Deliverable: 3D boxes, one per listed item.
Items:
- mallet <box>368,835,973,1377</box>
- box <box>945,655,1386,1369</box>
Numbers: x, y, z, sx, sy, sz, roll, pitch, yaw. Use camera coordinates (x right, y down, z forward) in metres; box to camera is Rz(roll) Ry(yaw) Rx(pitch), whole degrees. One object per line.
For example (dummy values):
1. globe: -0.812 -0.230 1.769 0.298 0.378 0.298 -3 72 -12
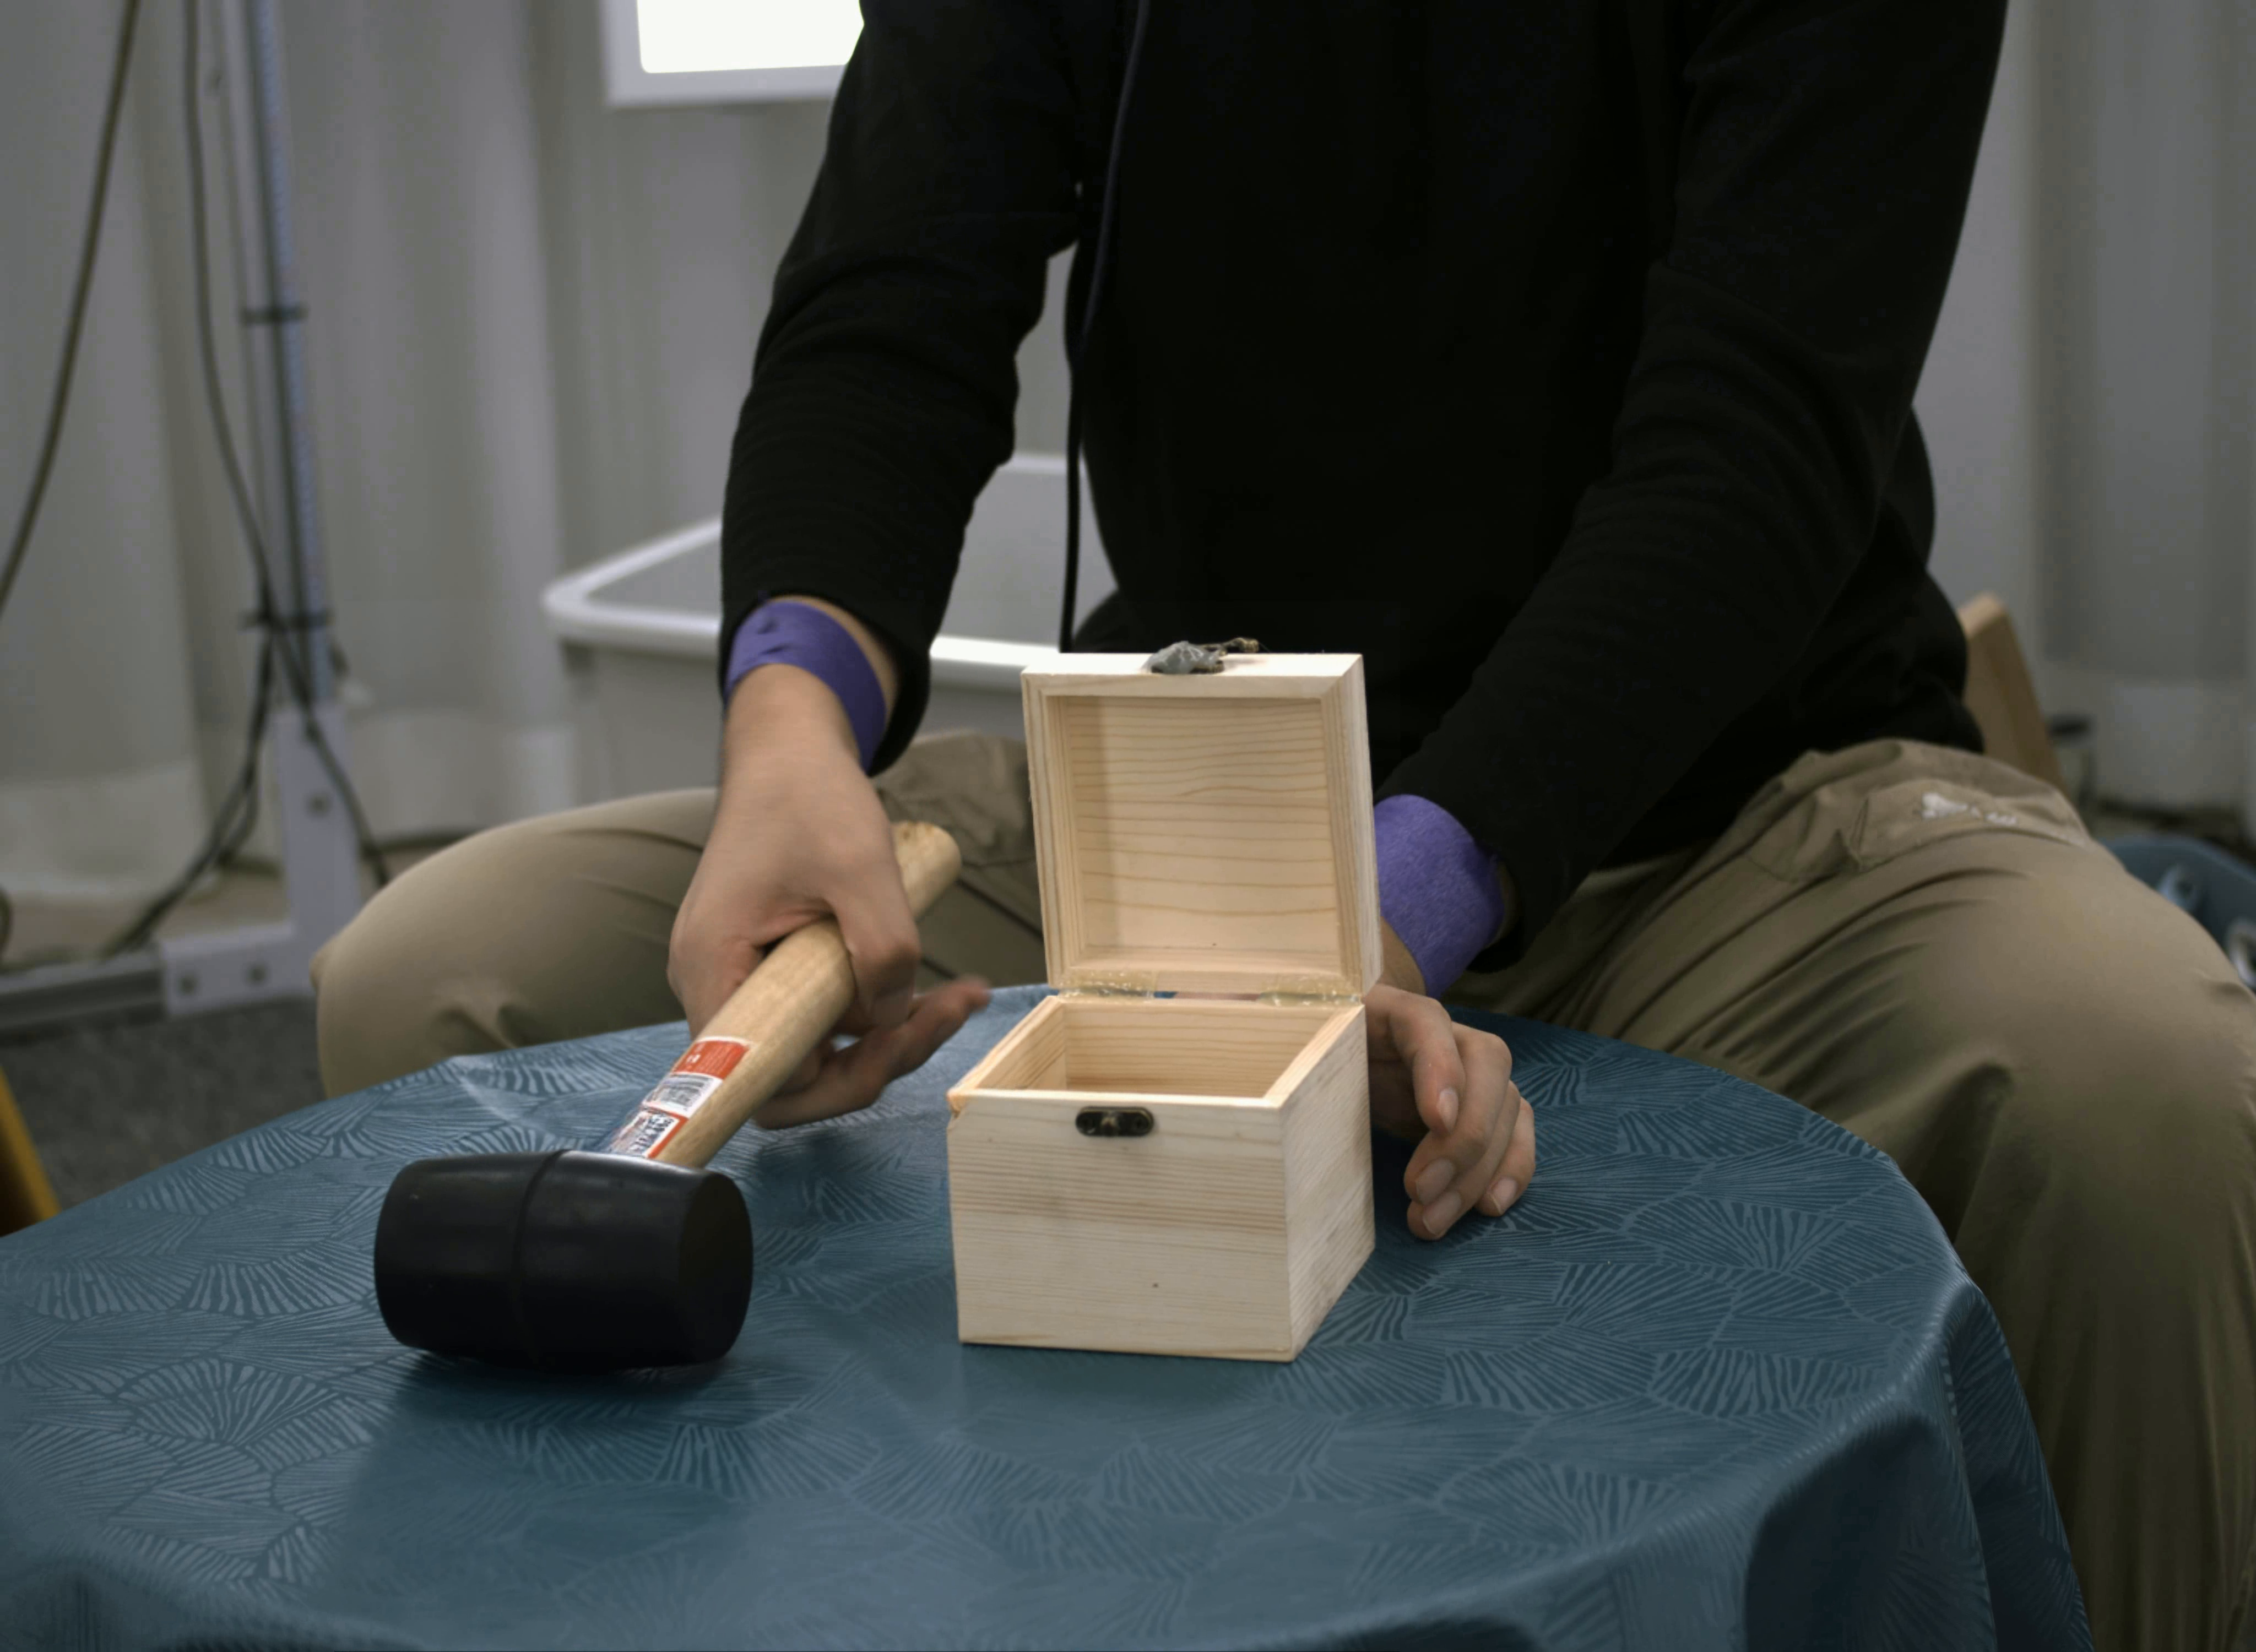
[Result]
1. mallet: -0.122 0.069 1.700 0.102 0.064 0.341 5 26 18
2. box: 0.011 0.050 1.607 0.102 0.184 0.134 2 12 16
